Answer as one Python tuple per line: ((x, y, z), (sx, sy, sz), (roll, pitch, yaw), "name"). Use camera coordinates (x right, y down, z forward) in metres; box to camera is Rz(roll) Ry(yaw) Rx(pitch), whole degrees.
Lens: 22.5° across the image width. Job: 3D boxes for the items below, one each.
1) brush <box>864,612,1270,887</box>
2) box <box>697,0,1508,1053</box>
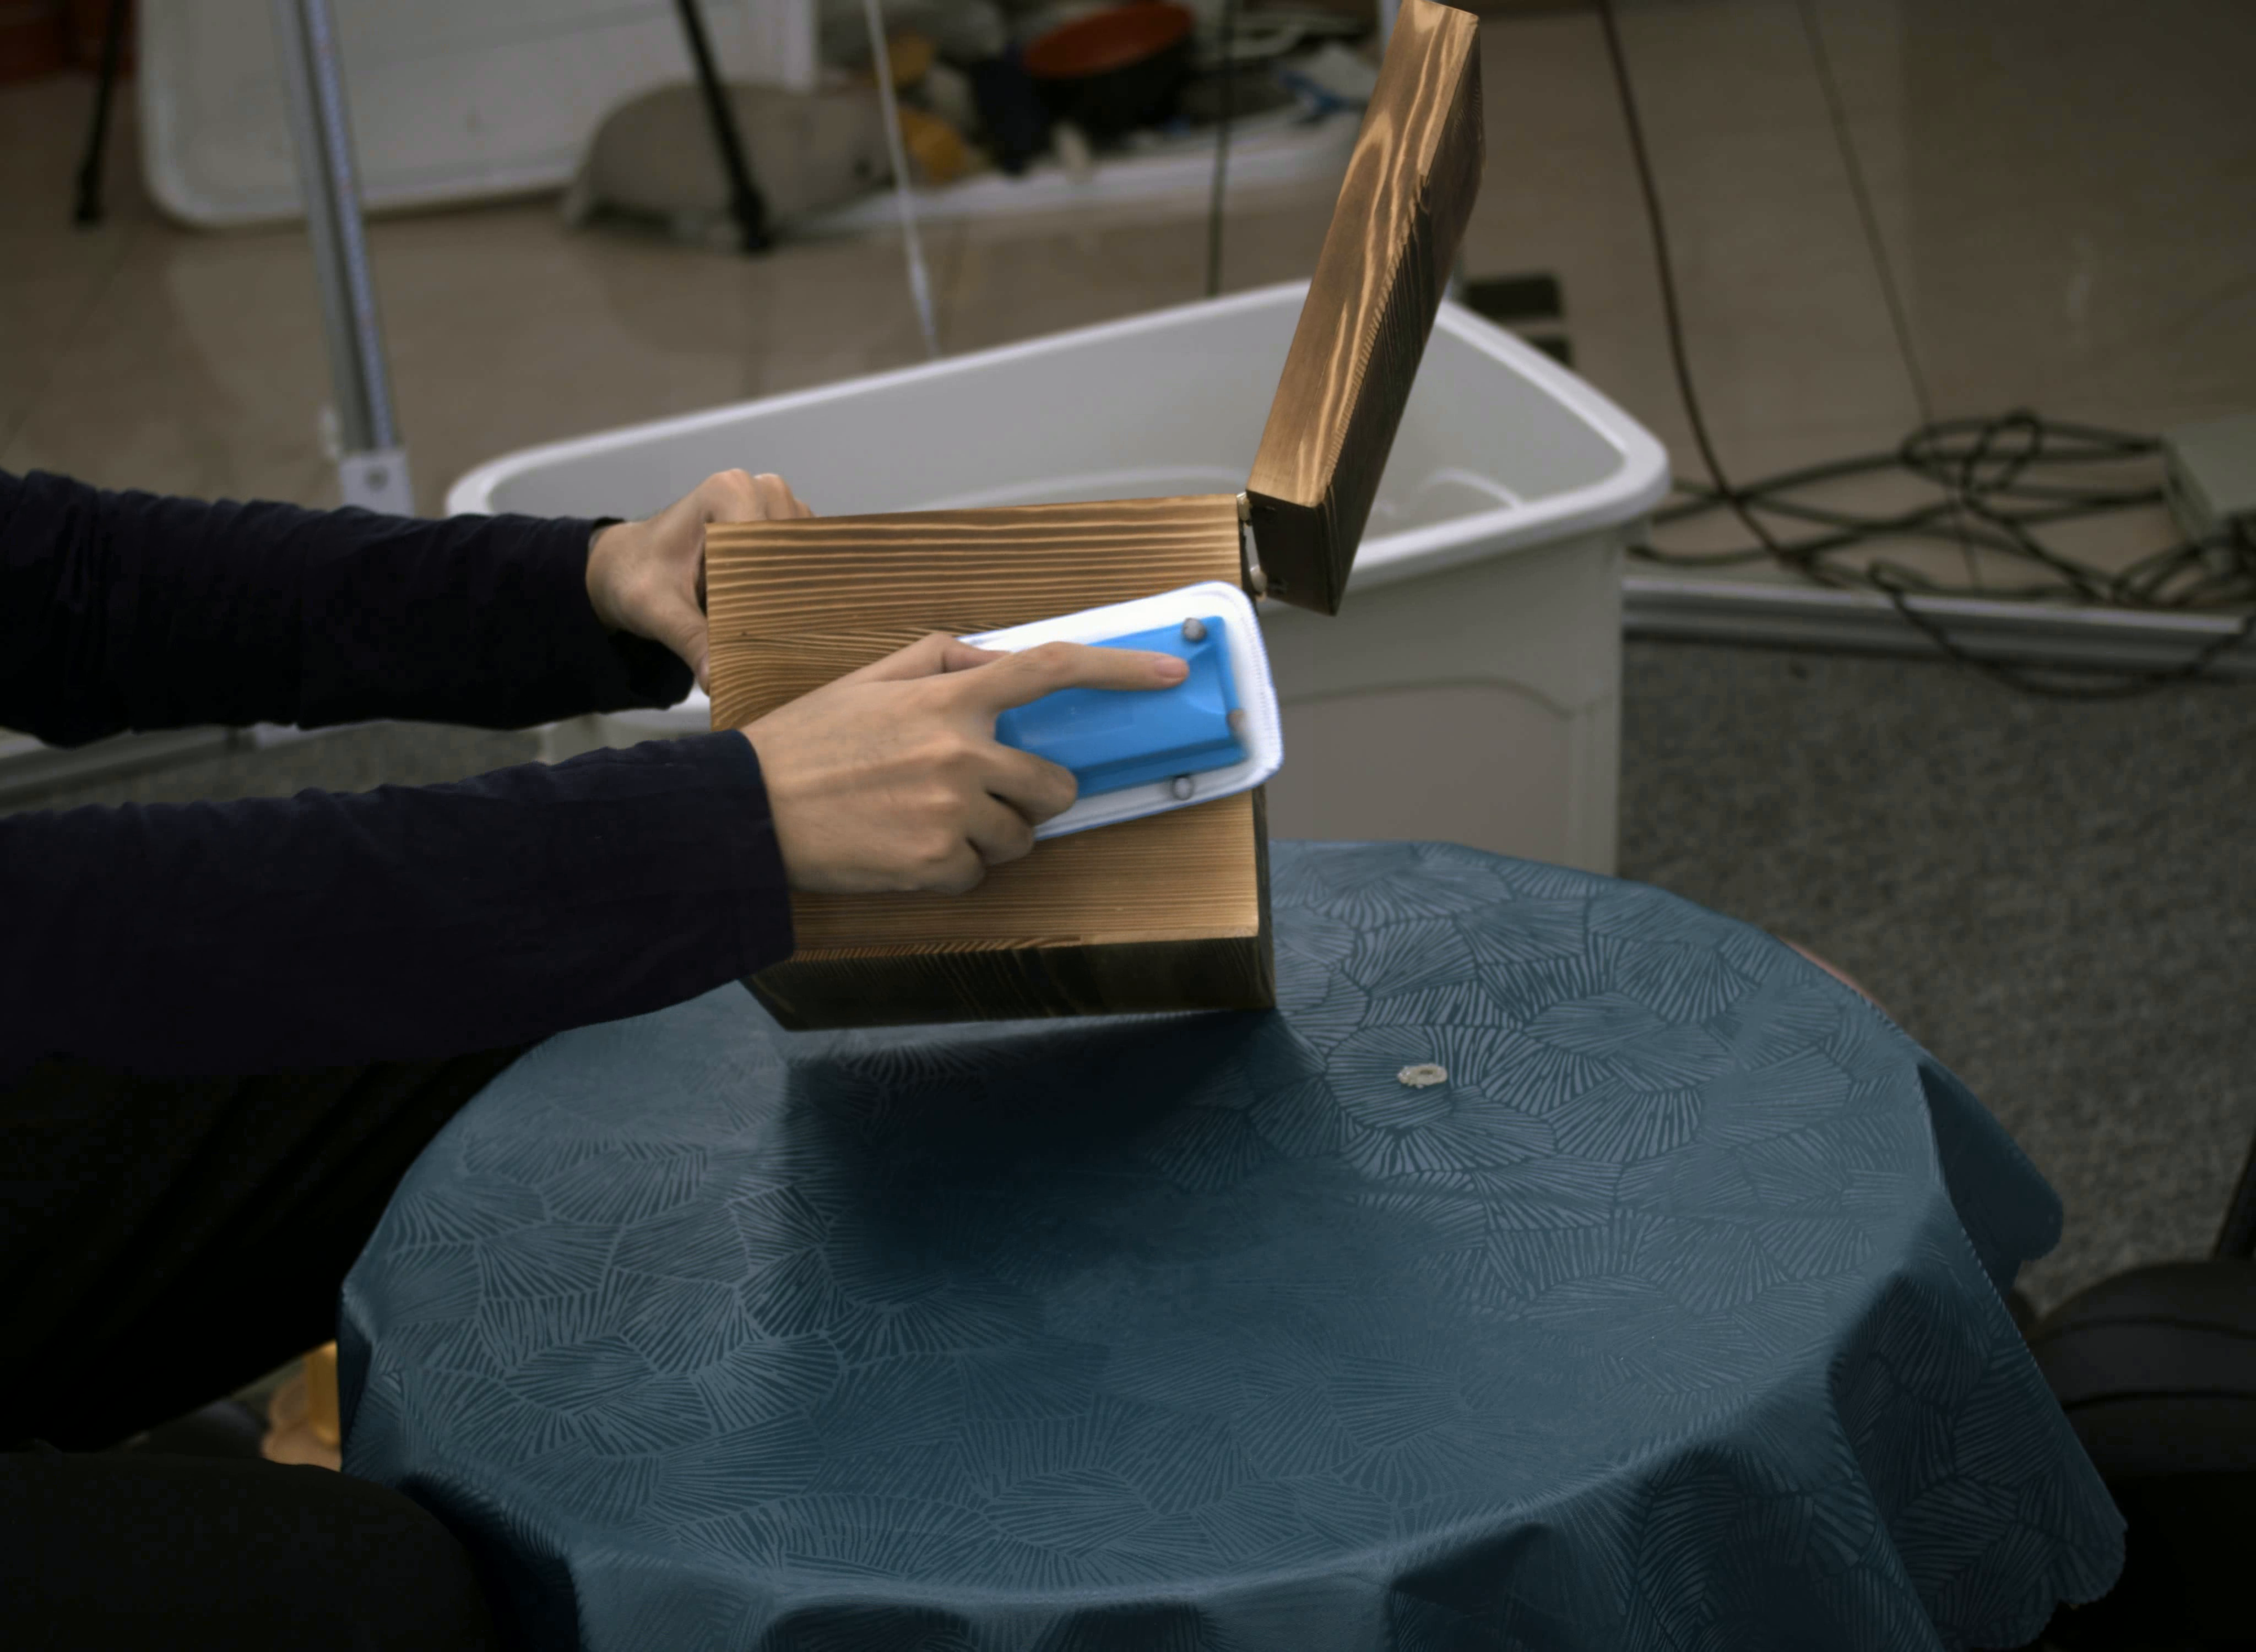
((-0.023, -0.033, 2.055), (0.143, 0.083, 0.056), (-14, -12, -3), "brush")
((-0.003, -0.117, 2.206), (0.321, 0.374, 0.210), (-3, -8, 3), "box")
